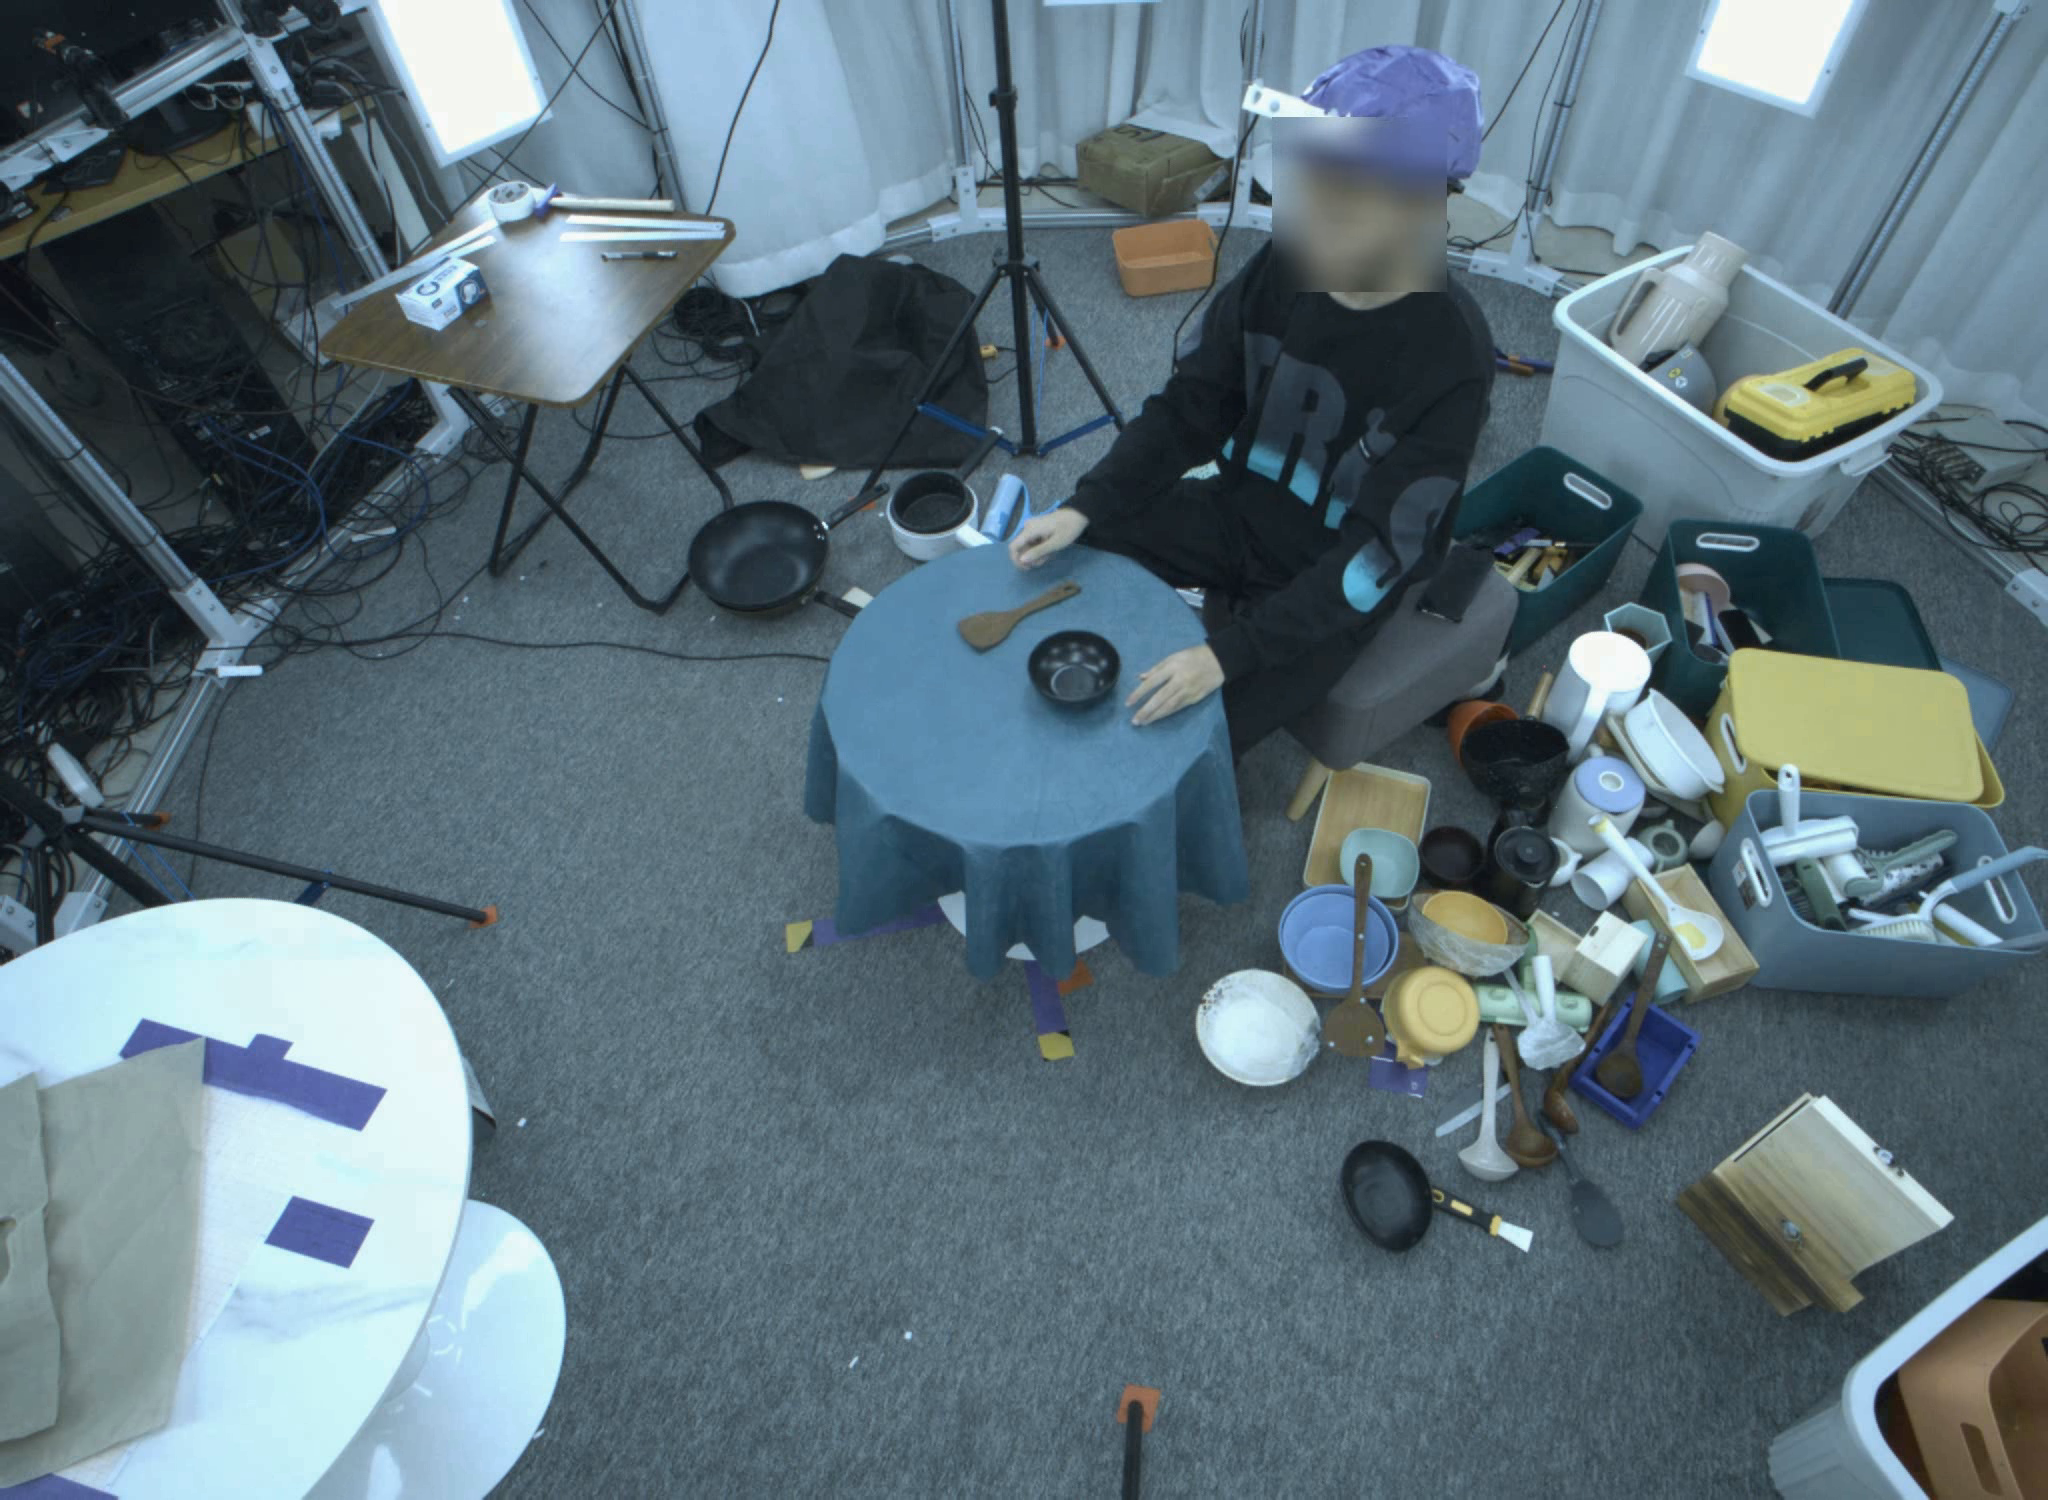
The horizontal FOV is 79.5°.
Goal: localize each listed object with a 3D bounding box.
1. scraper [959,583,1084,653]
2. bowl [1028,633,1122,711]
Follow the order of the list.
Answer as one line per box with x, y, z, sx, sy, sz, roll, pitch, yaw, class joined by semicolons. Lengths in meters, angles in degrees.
0.001;-0.215;1.944;0.213;0.011;0.074;-27;60;-17;scraper
0.078;-0.108;1.841;0.140;0.050;0.138;-2;53;4;bowl
